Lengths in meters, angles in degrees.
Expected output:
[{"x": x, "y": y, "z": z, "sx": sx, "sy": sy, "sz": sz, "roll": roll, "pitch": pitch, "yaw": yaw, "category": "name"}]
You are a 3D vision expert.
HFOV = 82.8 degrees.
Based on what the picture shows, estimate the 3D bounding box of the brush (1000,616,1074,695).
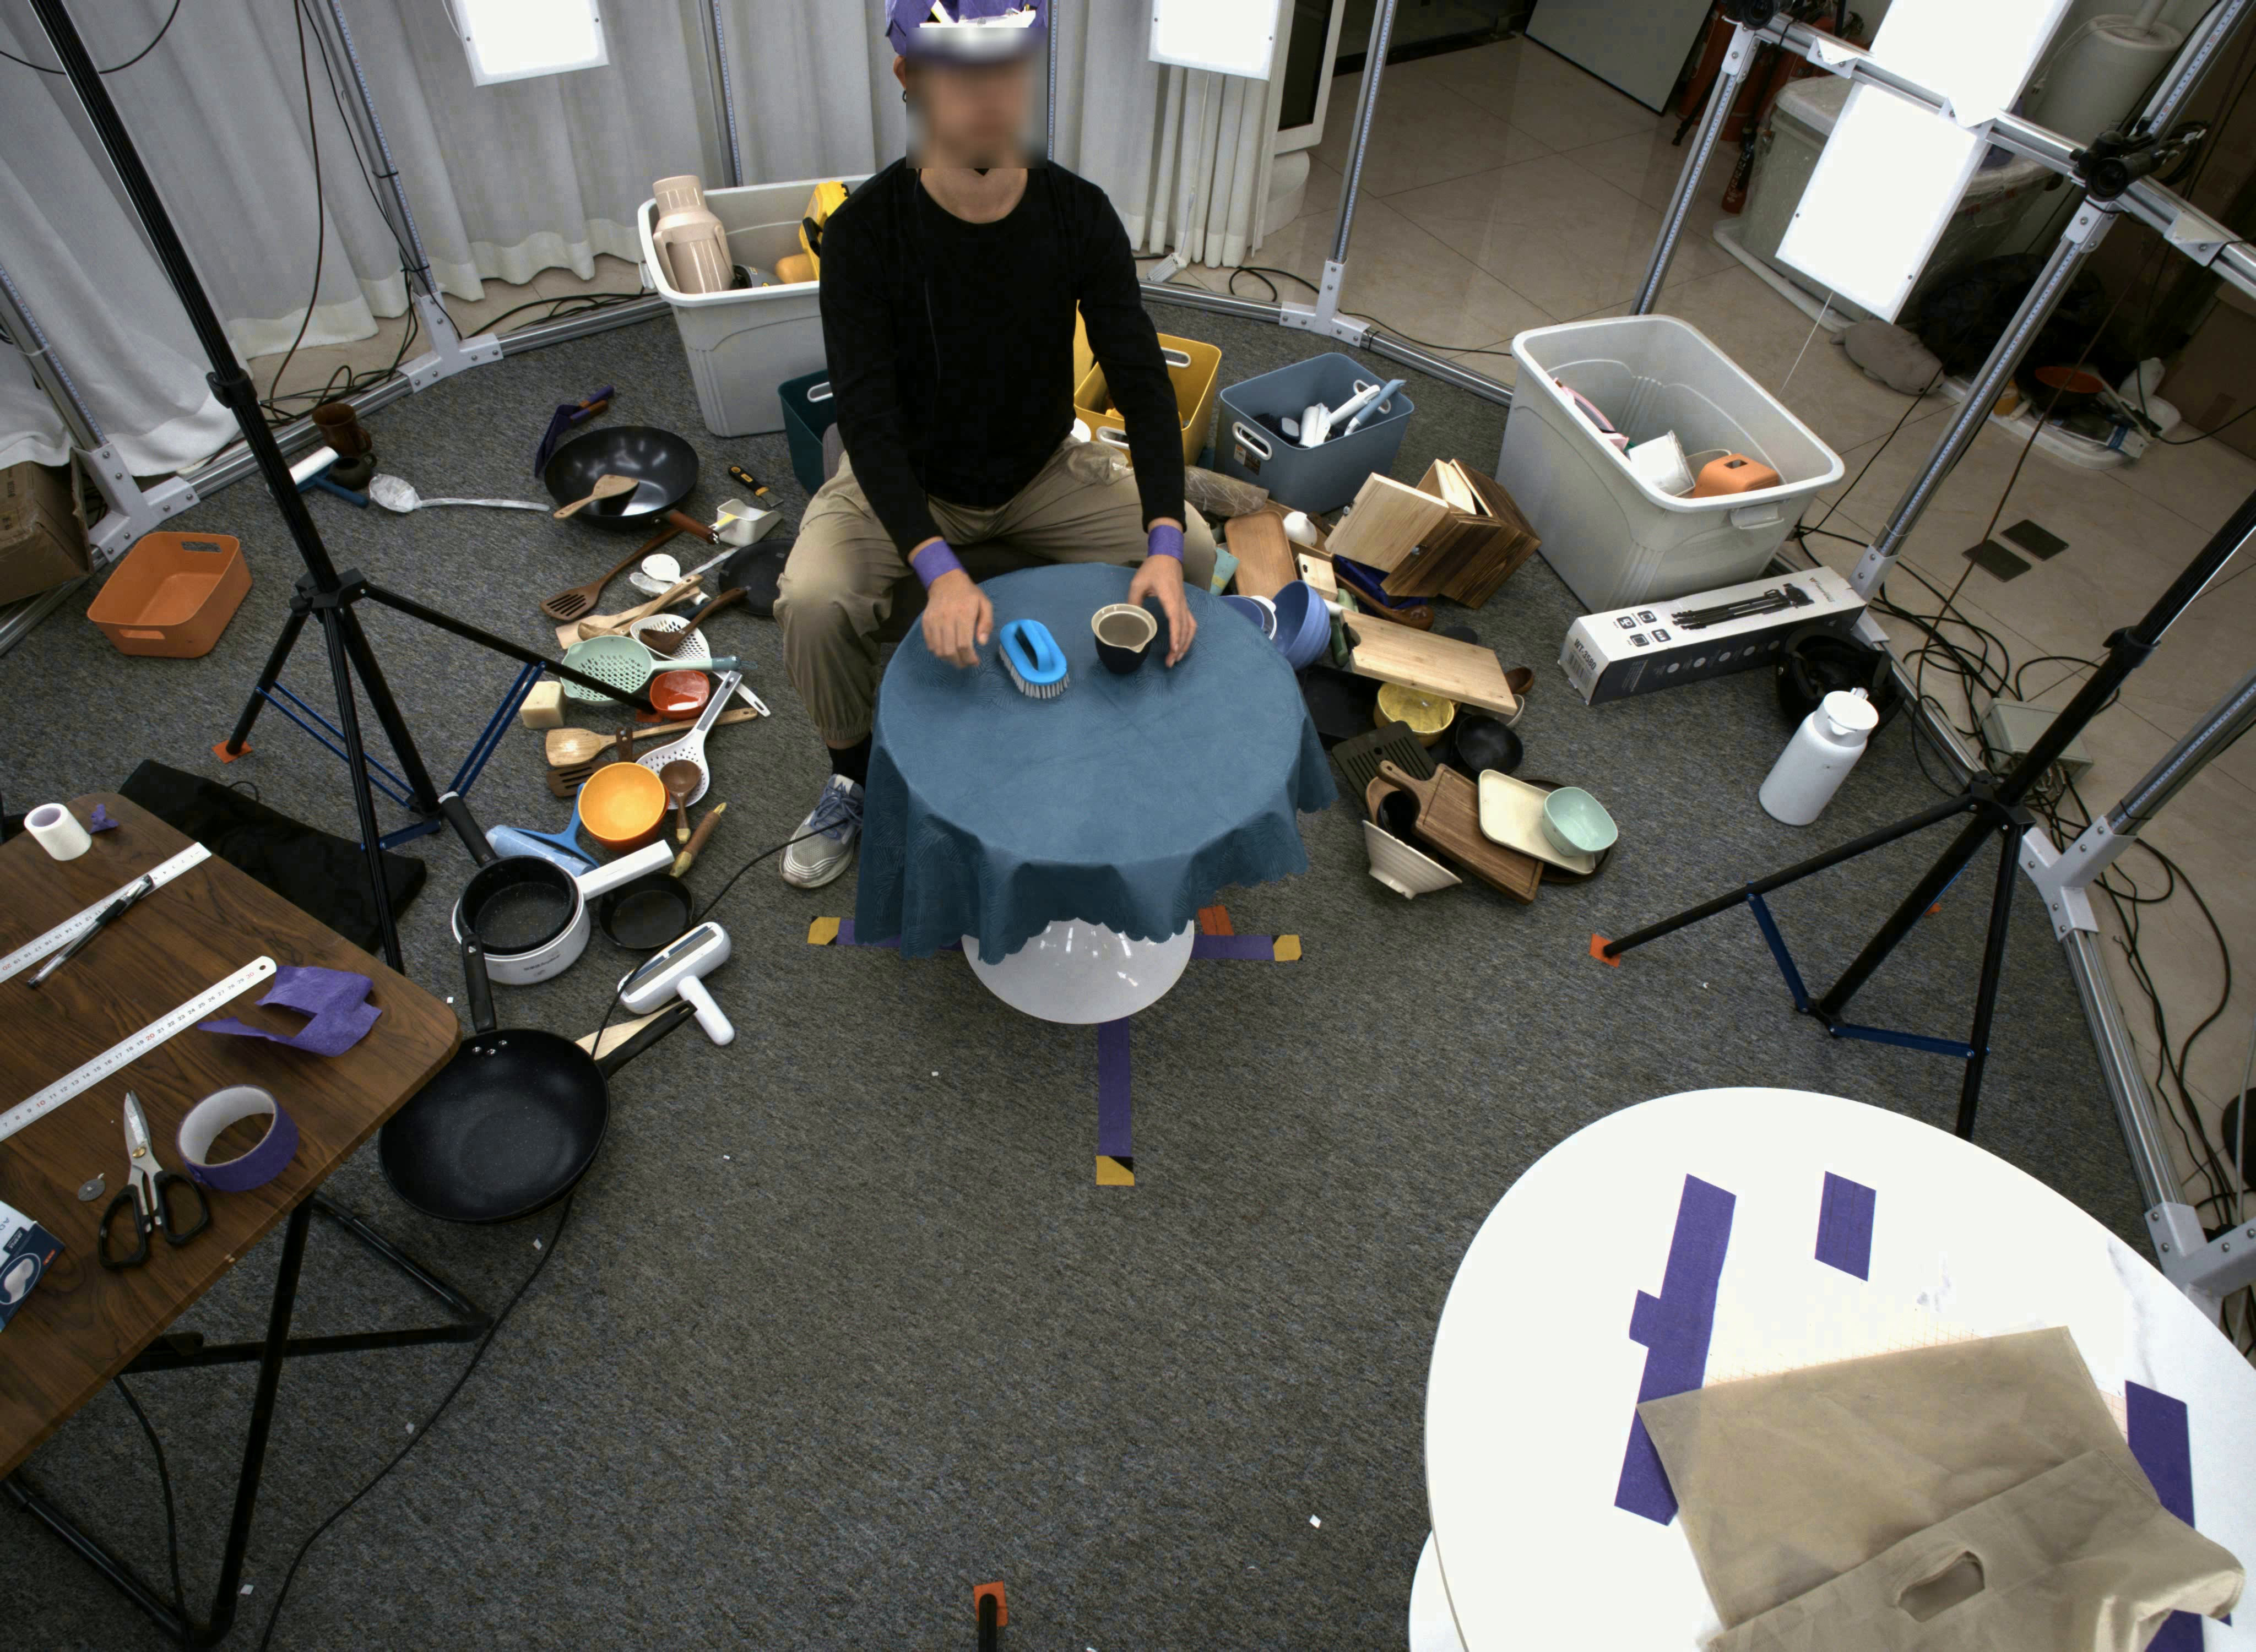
[{"x": -0.133, "y": -0.254, "z": 1.836, "sx": 0.084, "sy": 0.062, "sz": 0.145, "roll": -19, "pitch": 52, "yaw": -14, "category": "brush"}]

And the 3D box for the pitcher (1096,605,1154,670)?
[{"x": -0.004, "y": -0.264, "z": 1.847, "sx": 0.083, "sy": 0.069, "sz": 0.098, "roll": -9, "pitch": 52, "yaw": -13, "category": "pitcher"}]
